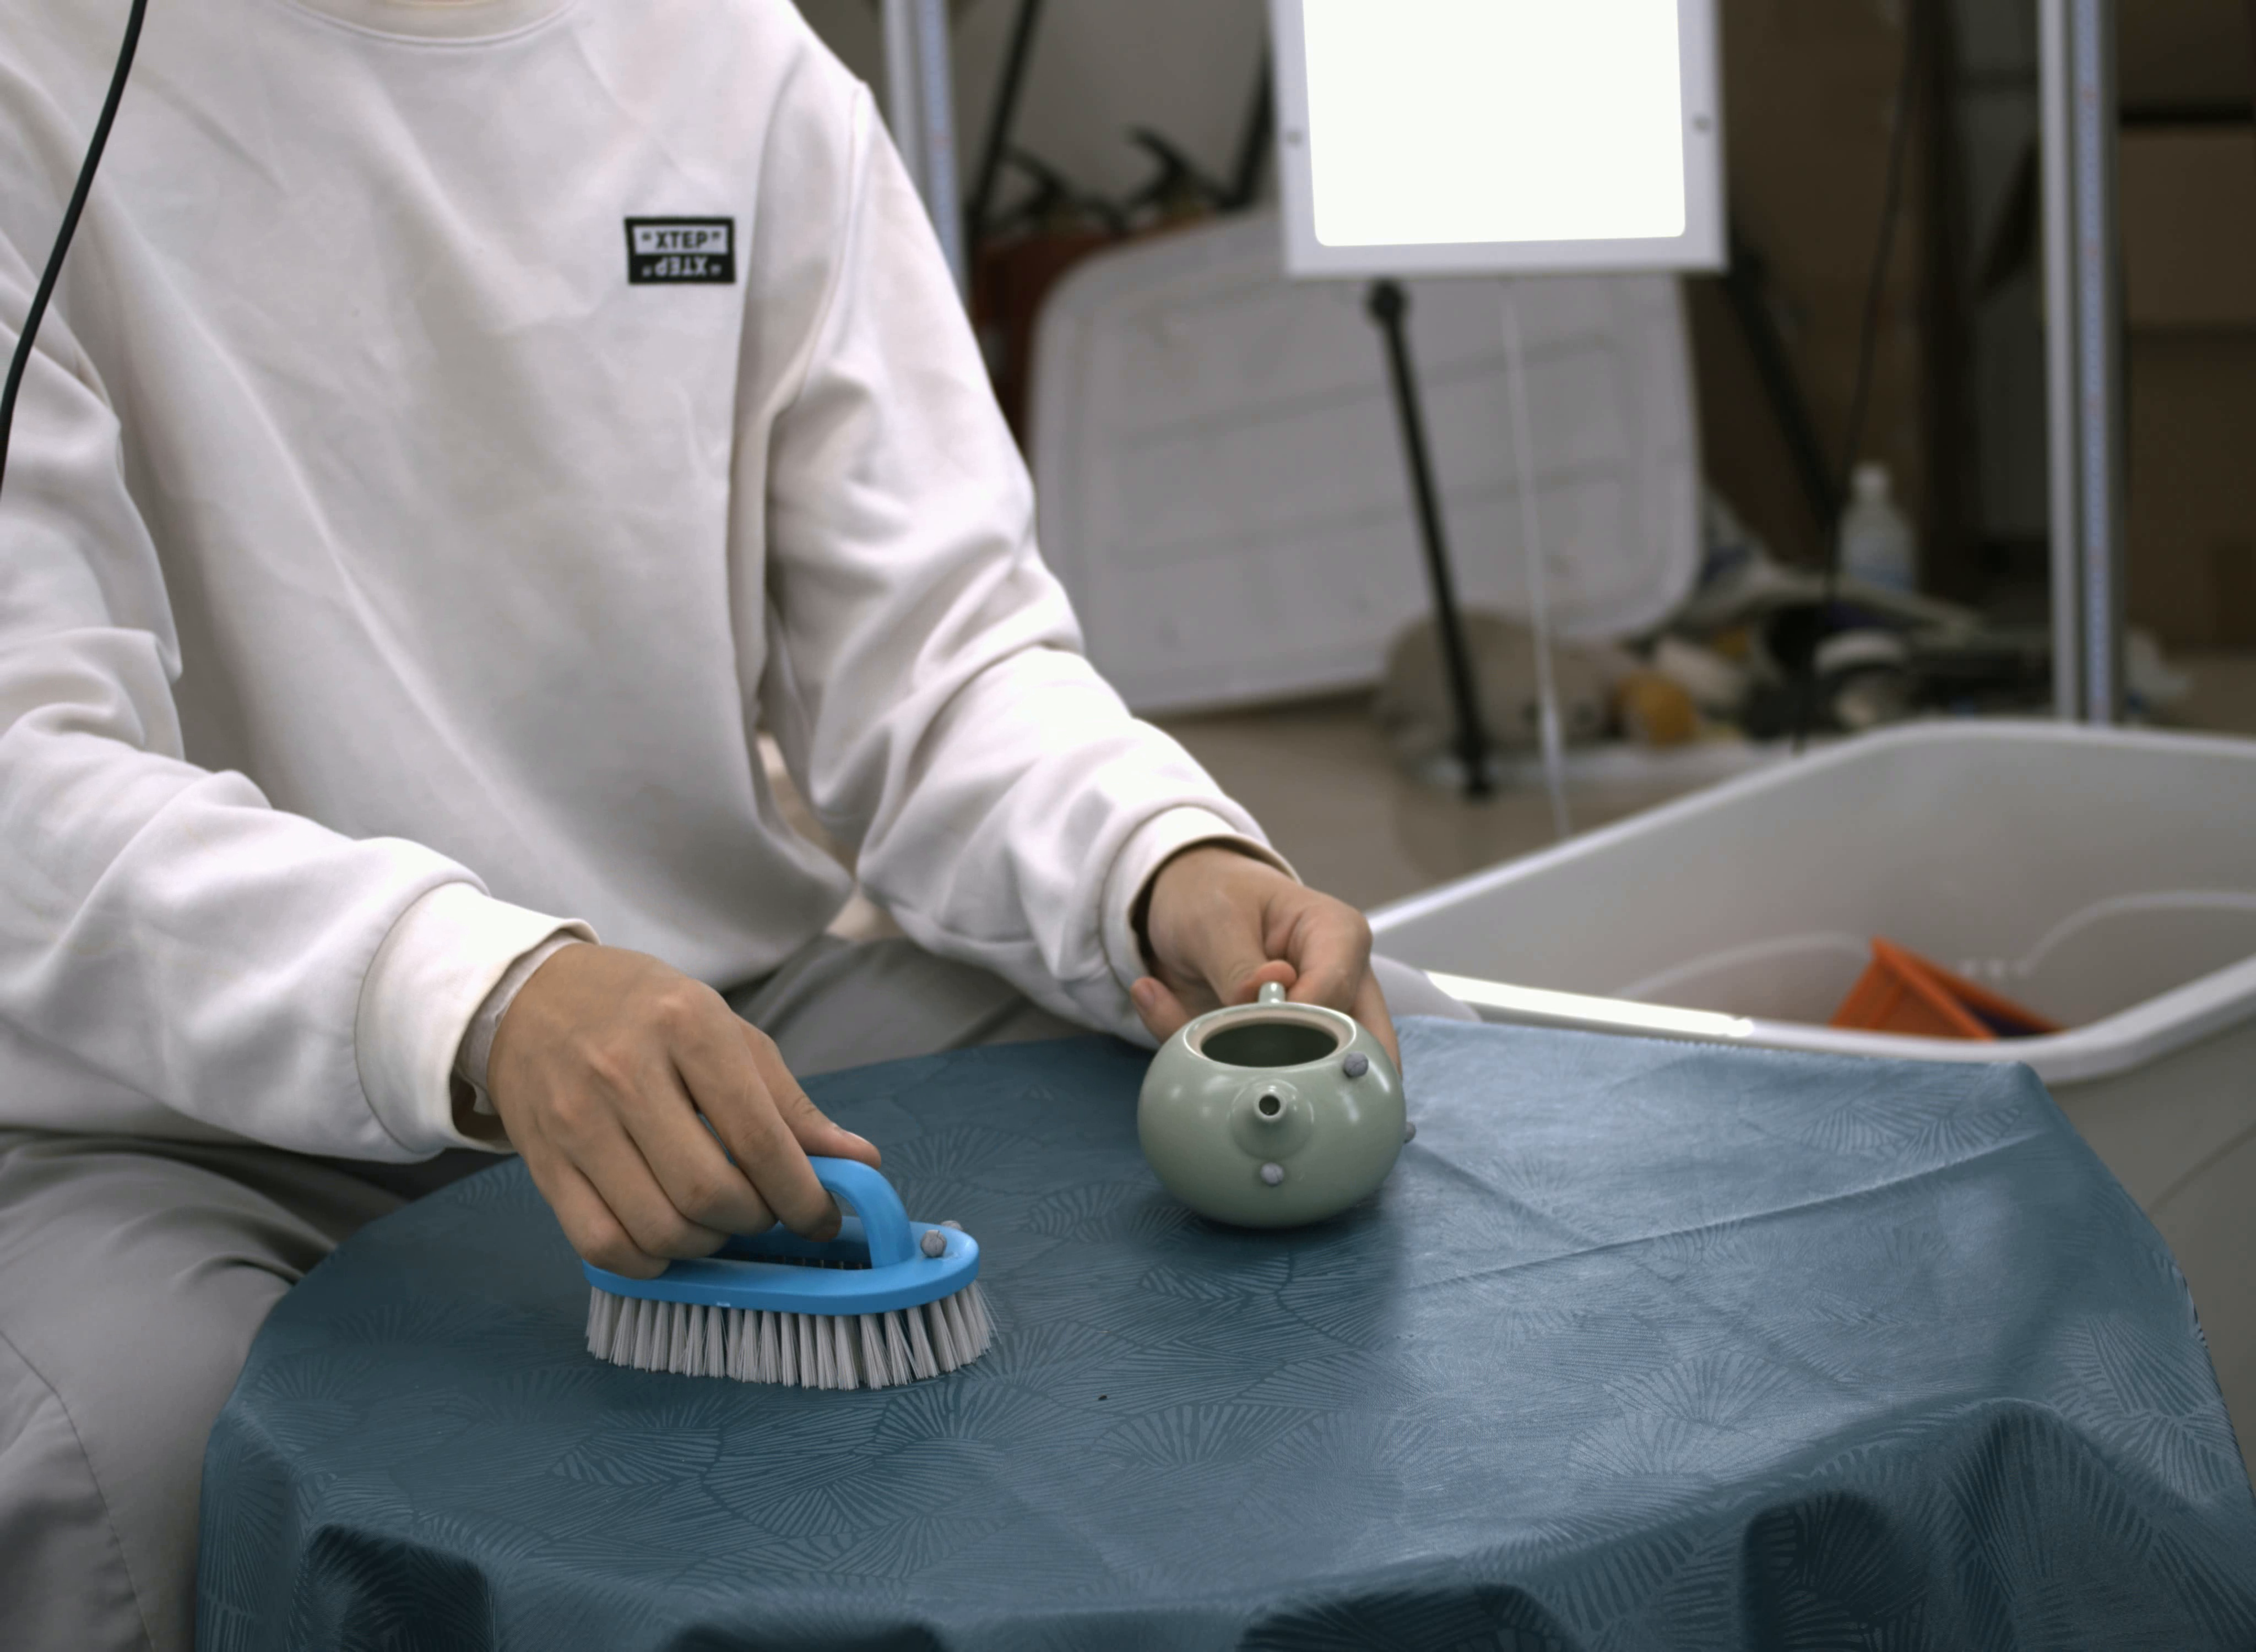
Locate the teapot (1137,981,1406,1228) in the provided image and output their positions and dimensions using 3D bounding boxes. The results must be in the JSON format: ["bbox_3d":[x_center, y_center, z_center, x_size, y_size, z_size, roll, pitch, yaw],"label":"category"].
[{"bbox_3d":[0.050,0.094,1.869,0.092,0.061,0.127,-3,19,9],"label":"teapot"}]

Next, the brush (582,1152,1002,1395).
[{"bbox_3d":[-0.112,0.136,1.766,0.144,0.064,0.082,0,20,28],"label":"brush"}]
